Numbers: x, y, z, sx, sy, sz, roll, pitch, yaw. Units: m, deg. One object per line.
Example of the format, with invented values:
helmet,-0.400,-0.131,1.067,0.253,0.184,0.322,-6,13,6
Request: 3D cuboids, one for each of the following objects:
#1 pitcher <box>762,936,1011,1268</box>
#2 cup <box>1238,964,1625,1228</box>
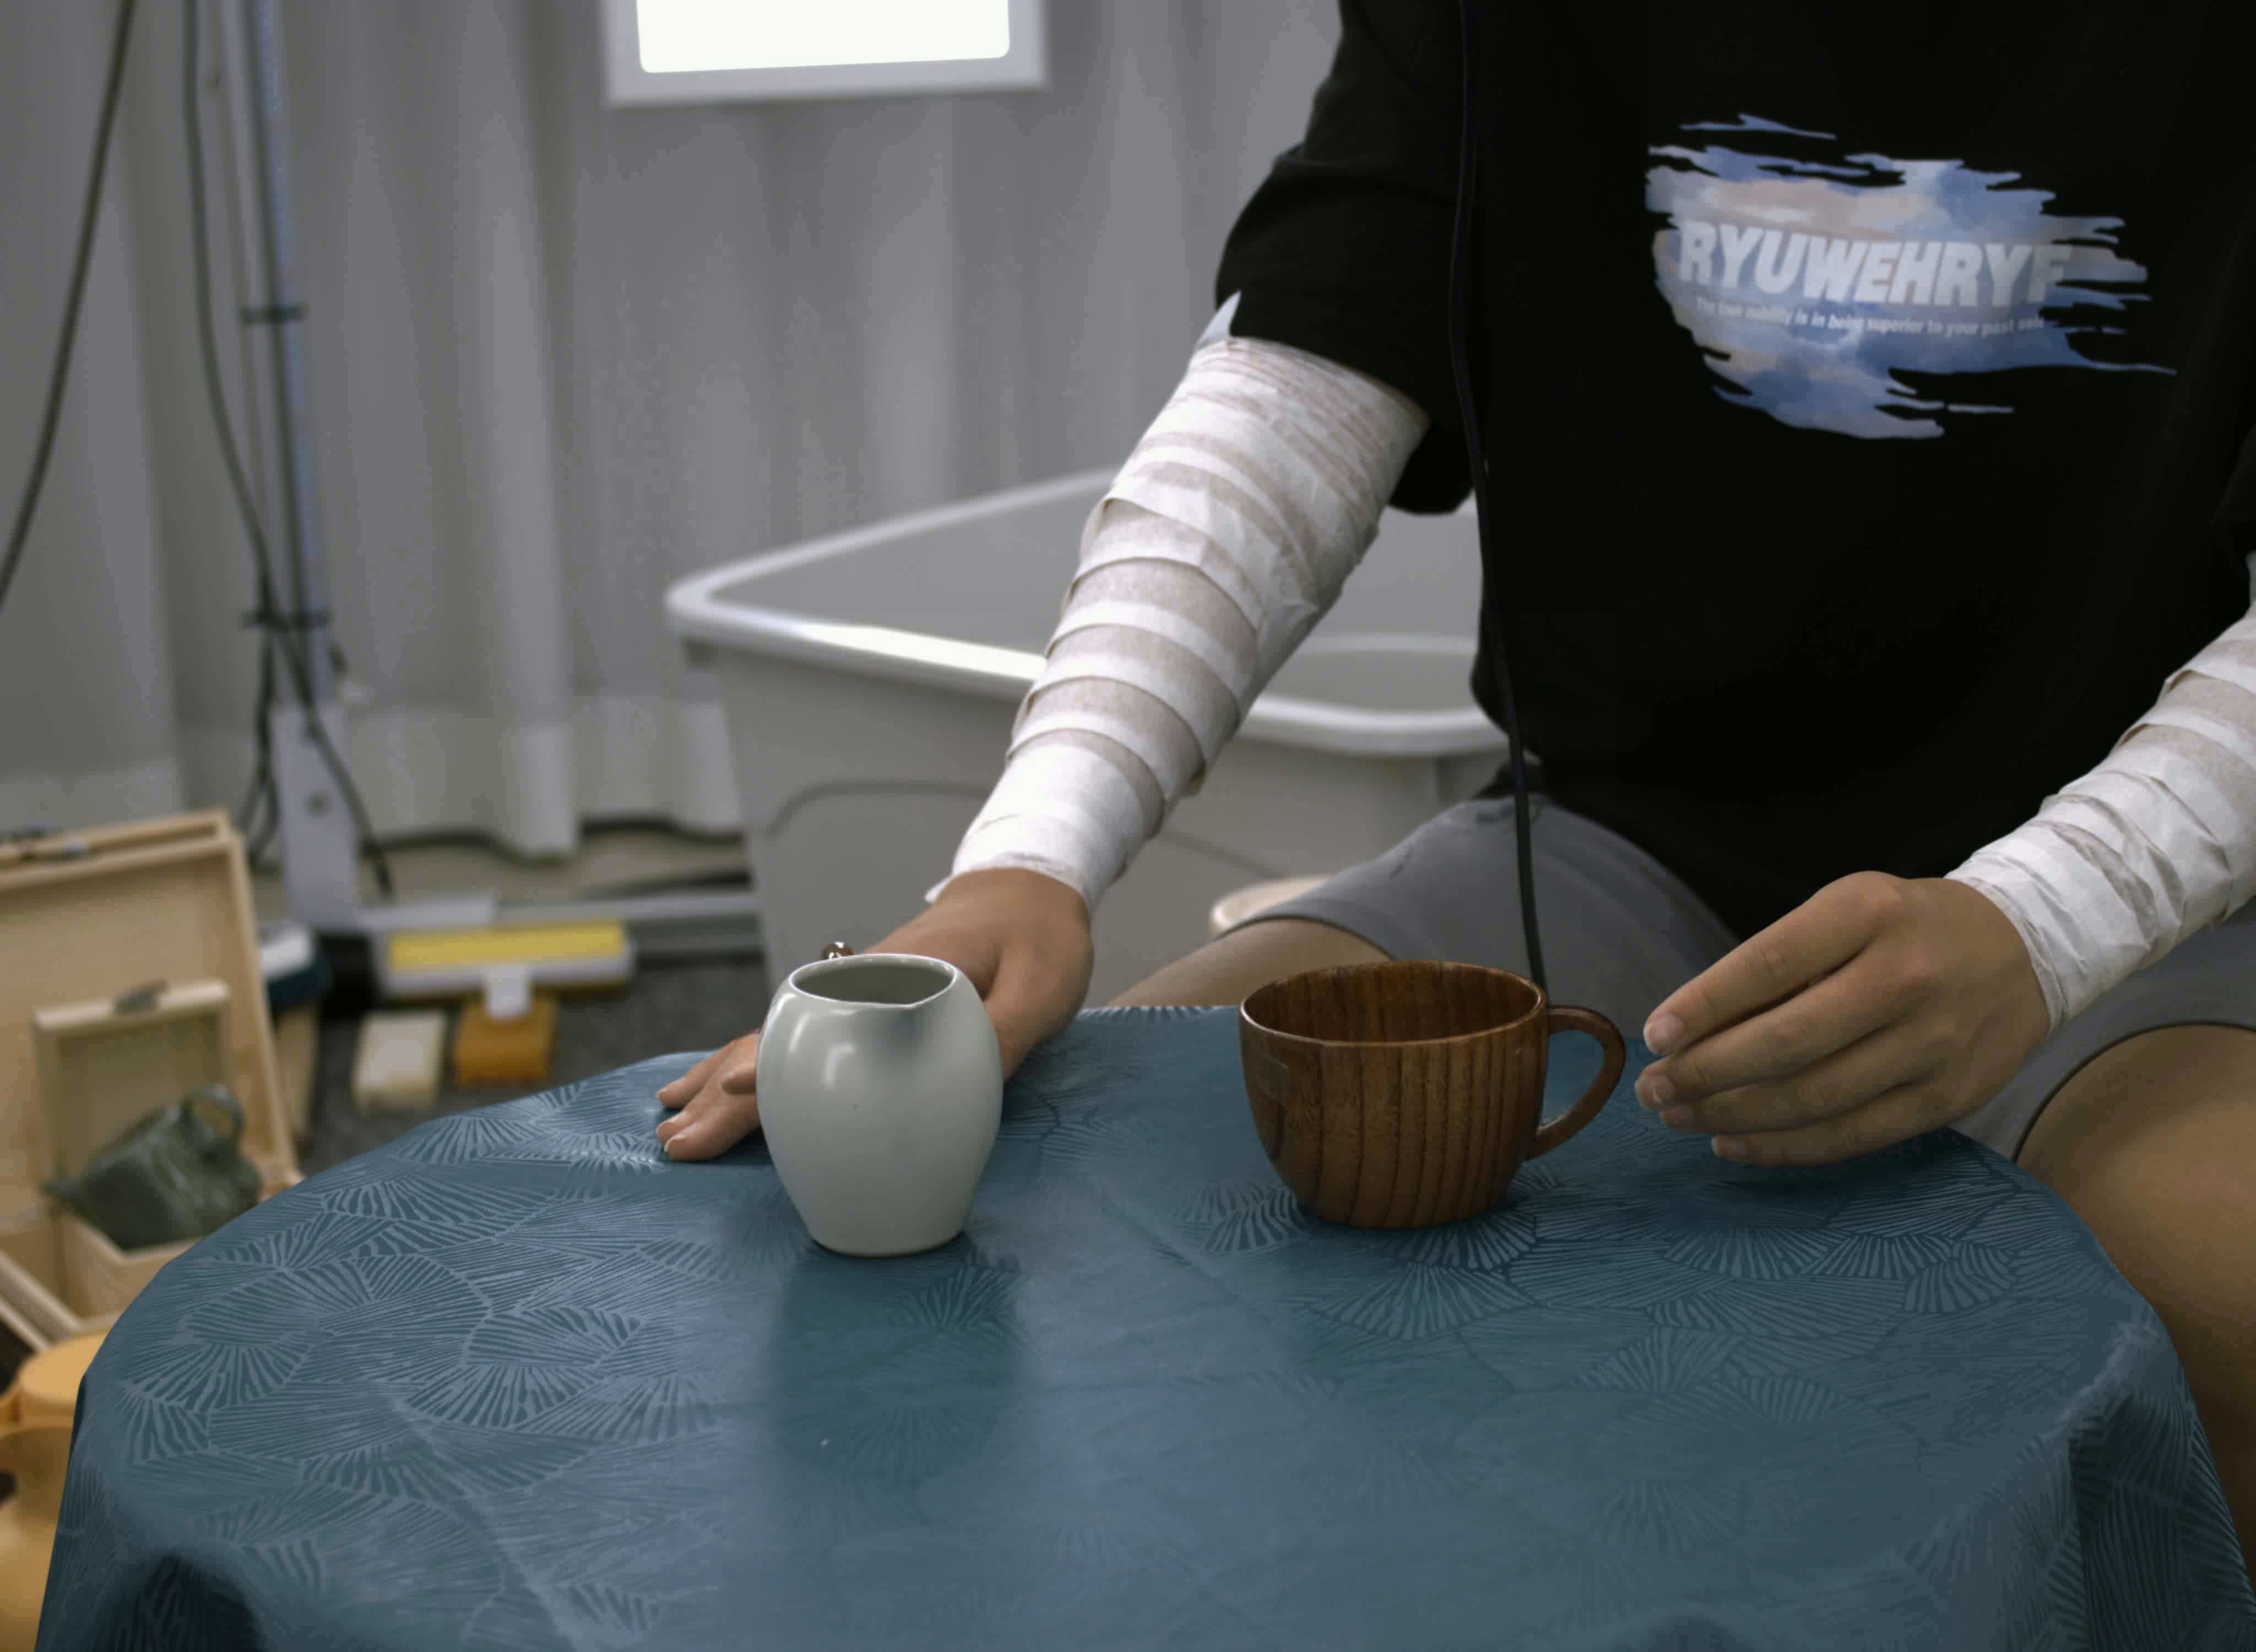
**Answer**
pitcher,-0.075,0.083,1.671,0.075,0.087,0.120,0,17,-10
cup,0.094,0.085,1.684,0.119,0.067,0.096,-1,11,1
